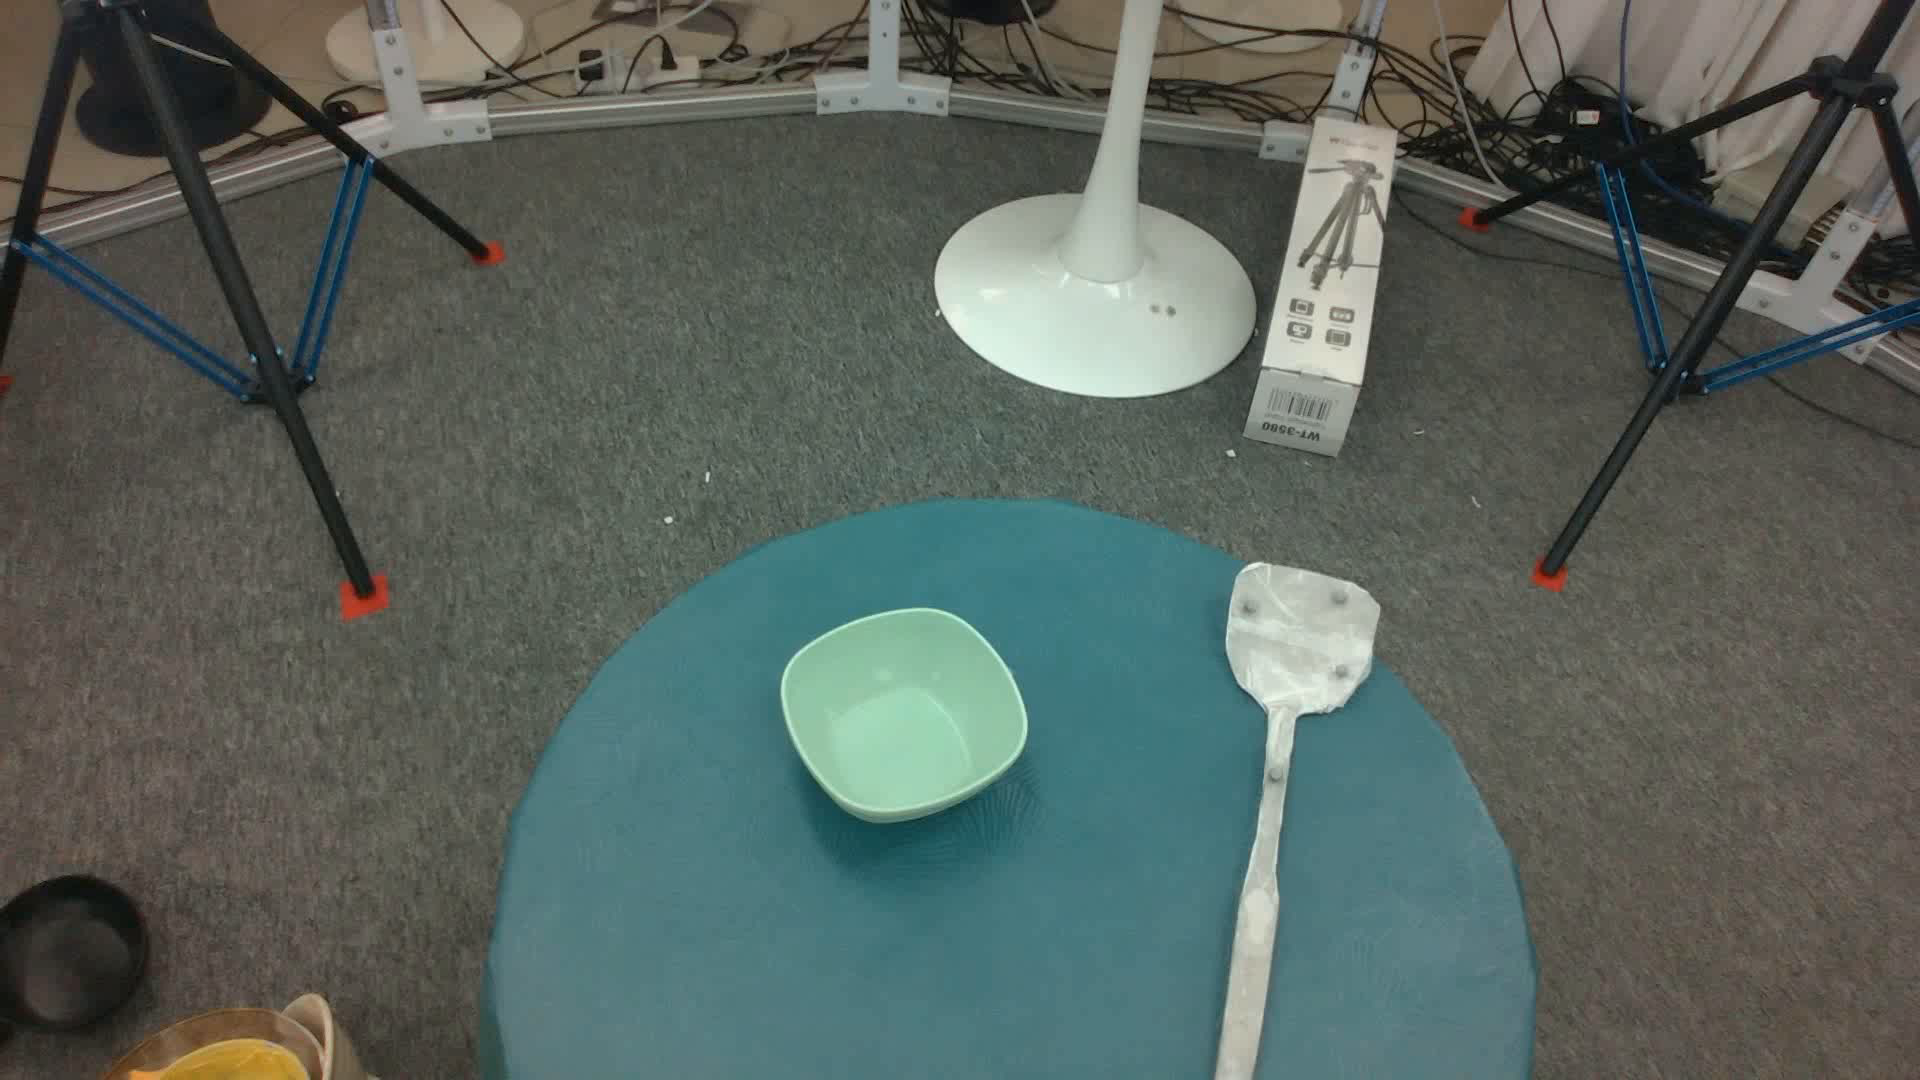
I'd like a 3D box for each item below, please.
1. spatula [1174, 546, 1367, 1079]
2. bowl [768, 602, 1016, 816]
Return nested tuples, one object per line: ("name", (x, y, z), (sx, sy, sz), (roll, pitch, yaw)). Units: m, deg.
("spatula", (0.179, 0.151, 0.835), (0.098, 0.044, 0.367), (17, 49, 6))
("bowl", (-0.042, 0.111, 0.836), (0.151, 0.058, 0.152), (3, 47, -3))
